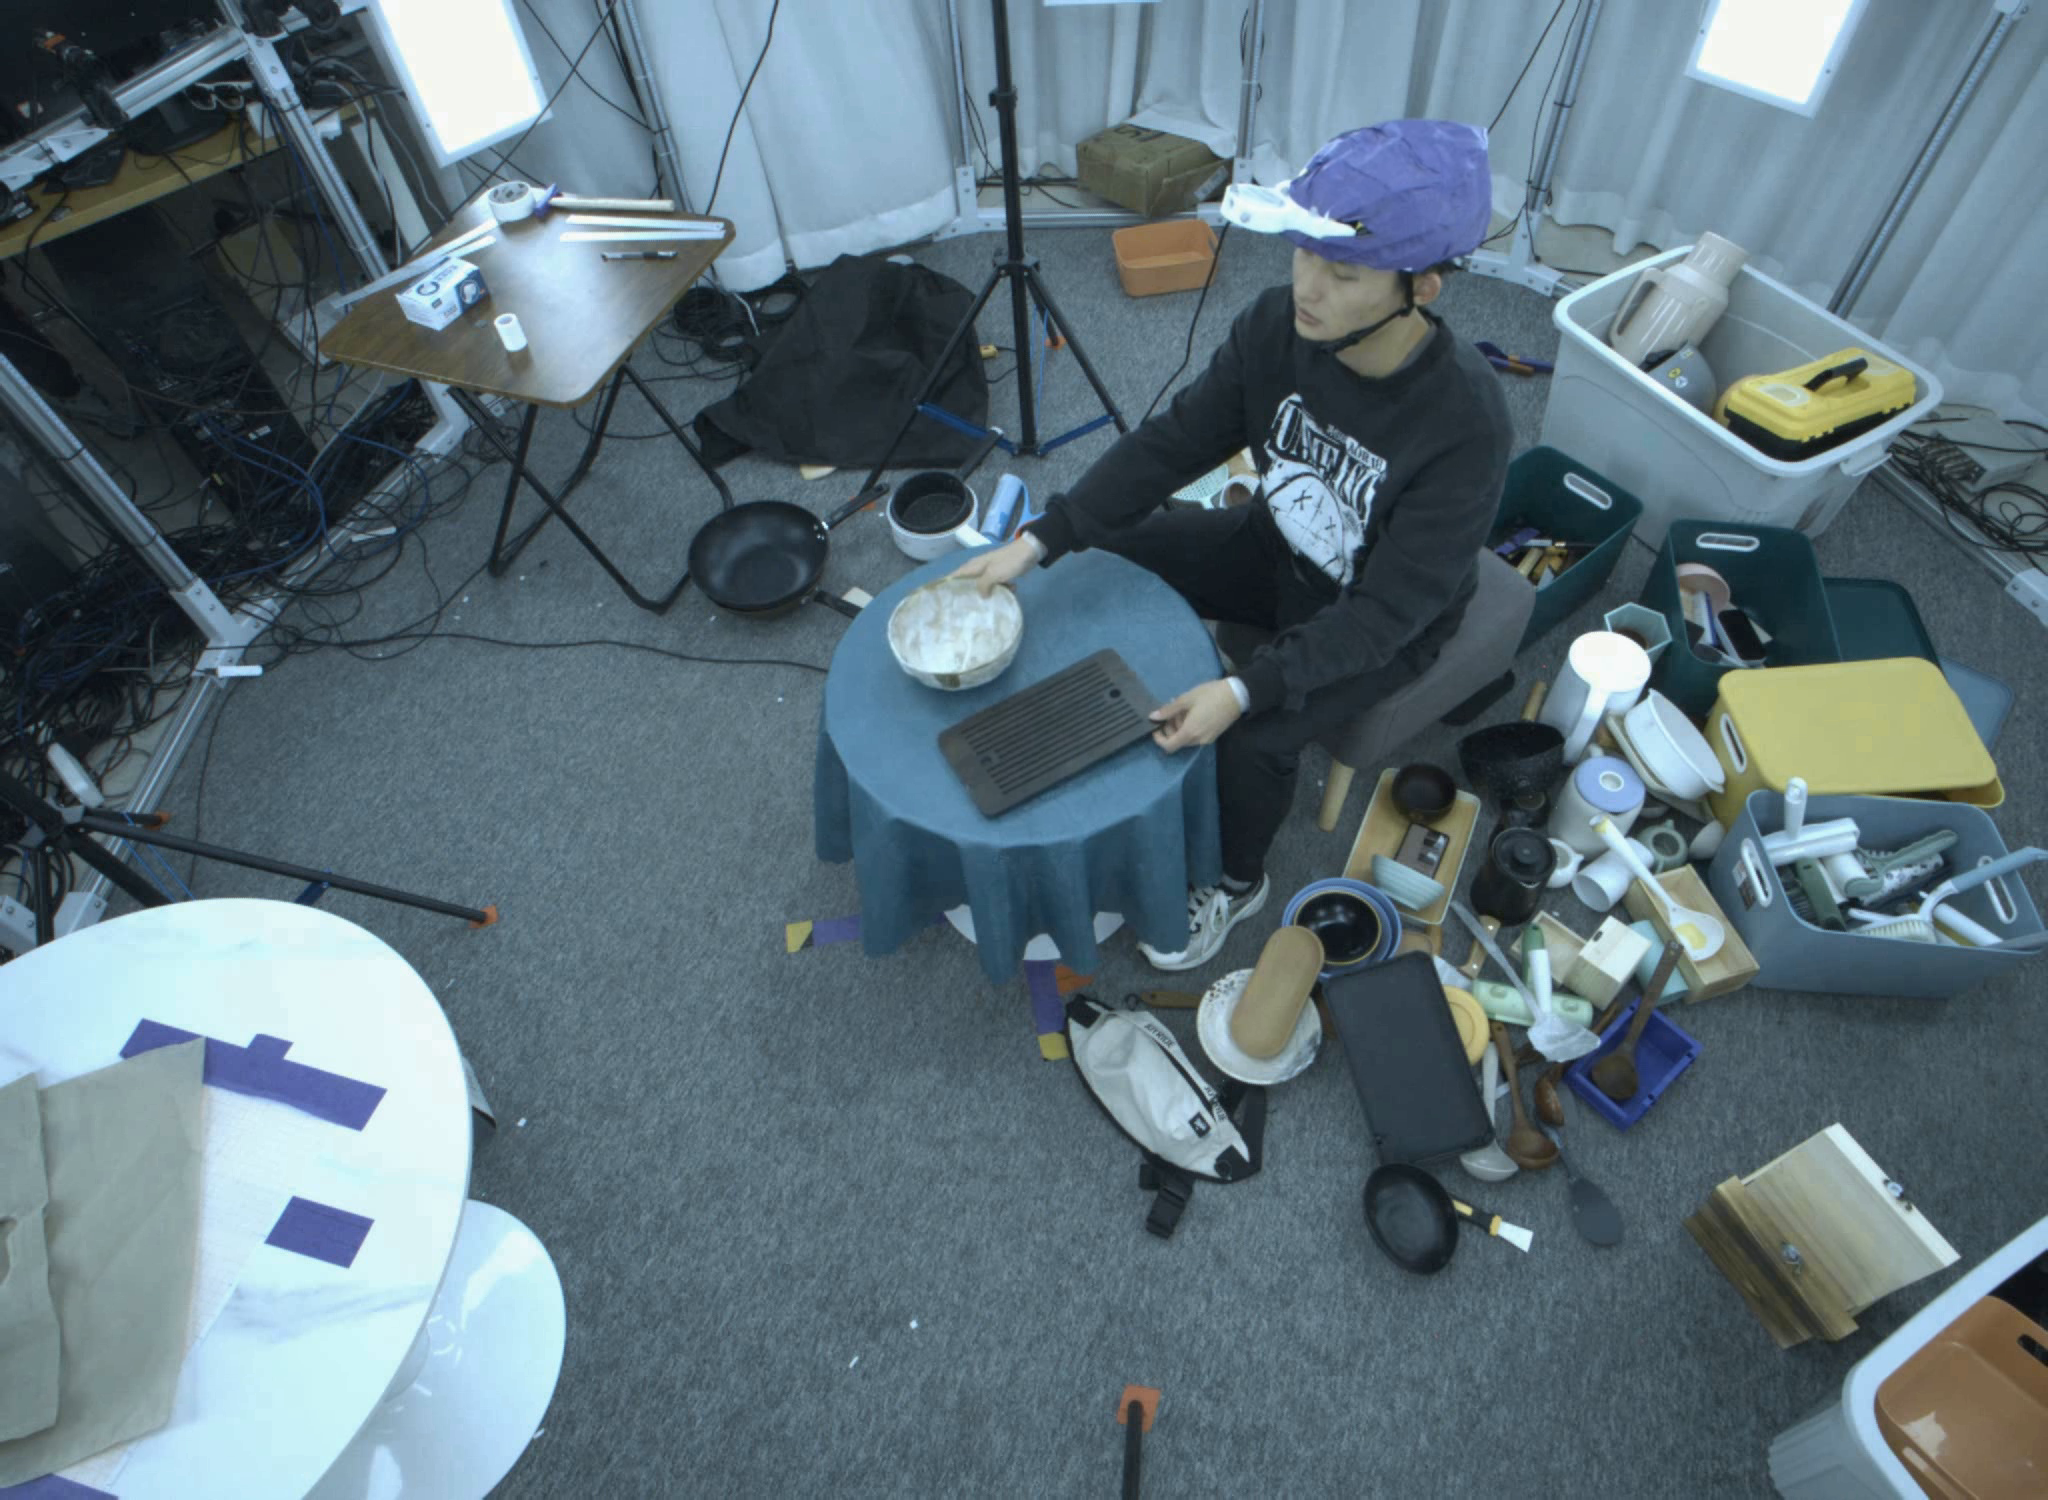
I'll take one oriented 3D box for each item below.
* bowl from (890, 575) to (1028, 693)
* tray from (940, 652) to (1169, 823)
[{"bbox_3d":[-0.091,-0.158,1.852,0.214,0.096,0.212,-3,53,5],"label":"bowl"},{"bbox_3d":[0.044,-0.021,1.791,0.308,0.019,0.167,-27,58,-13],"label":"tray"}]
